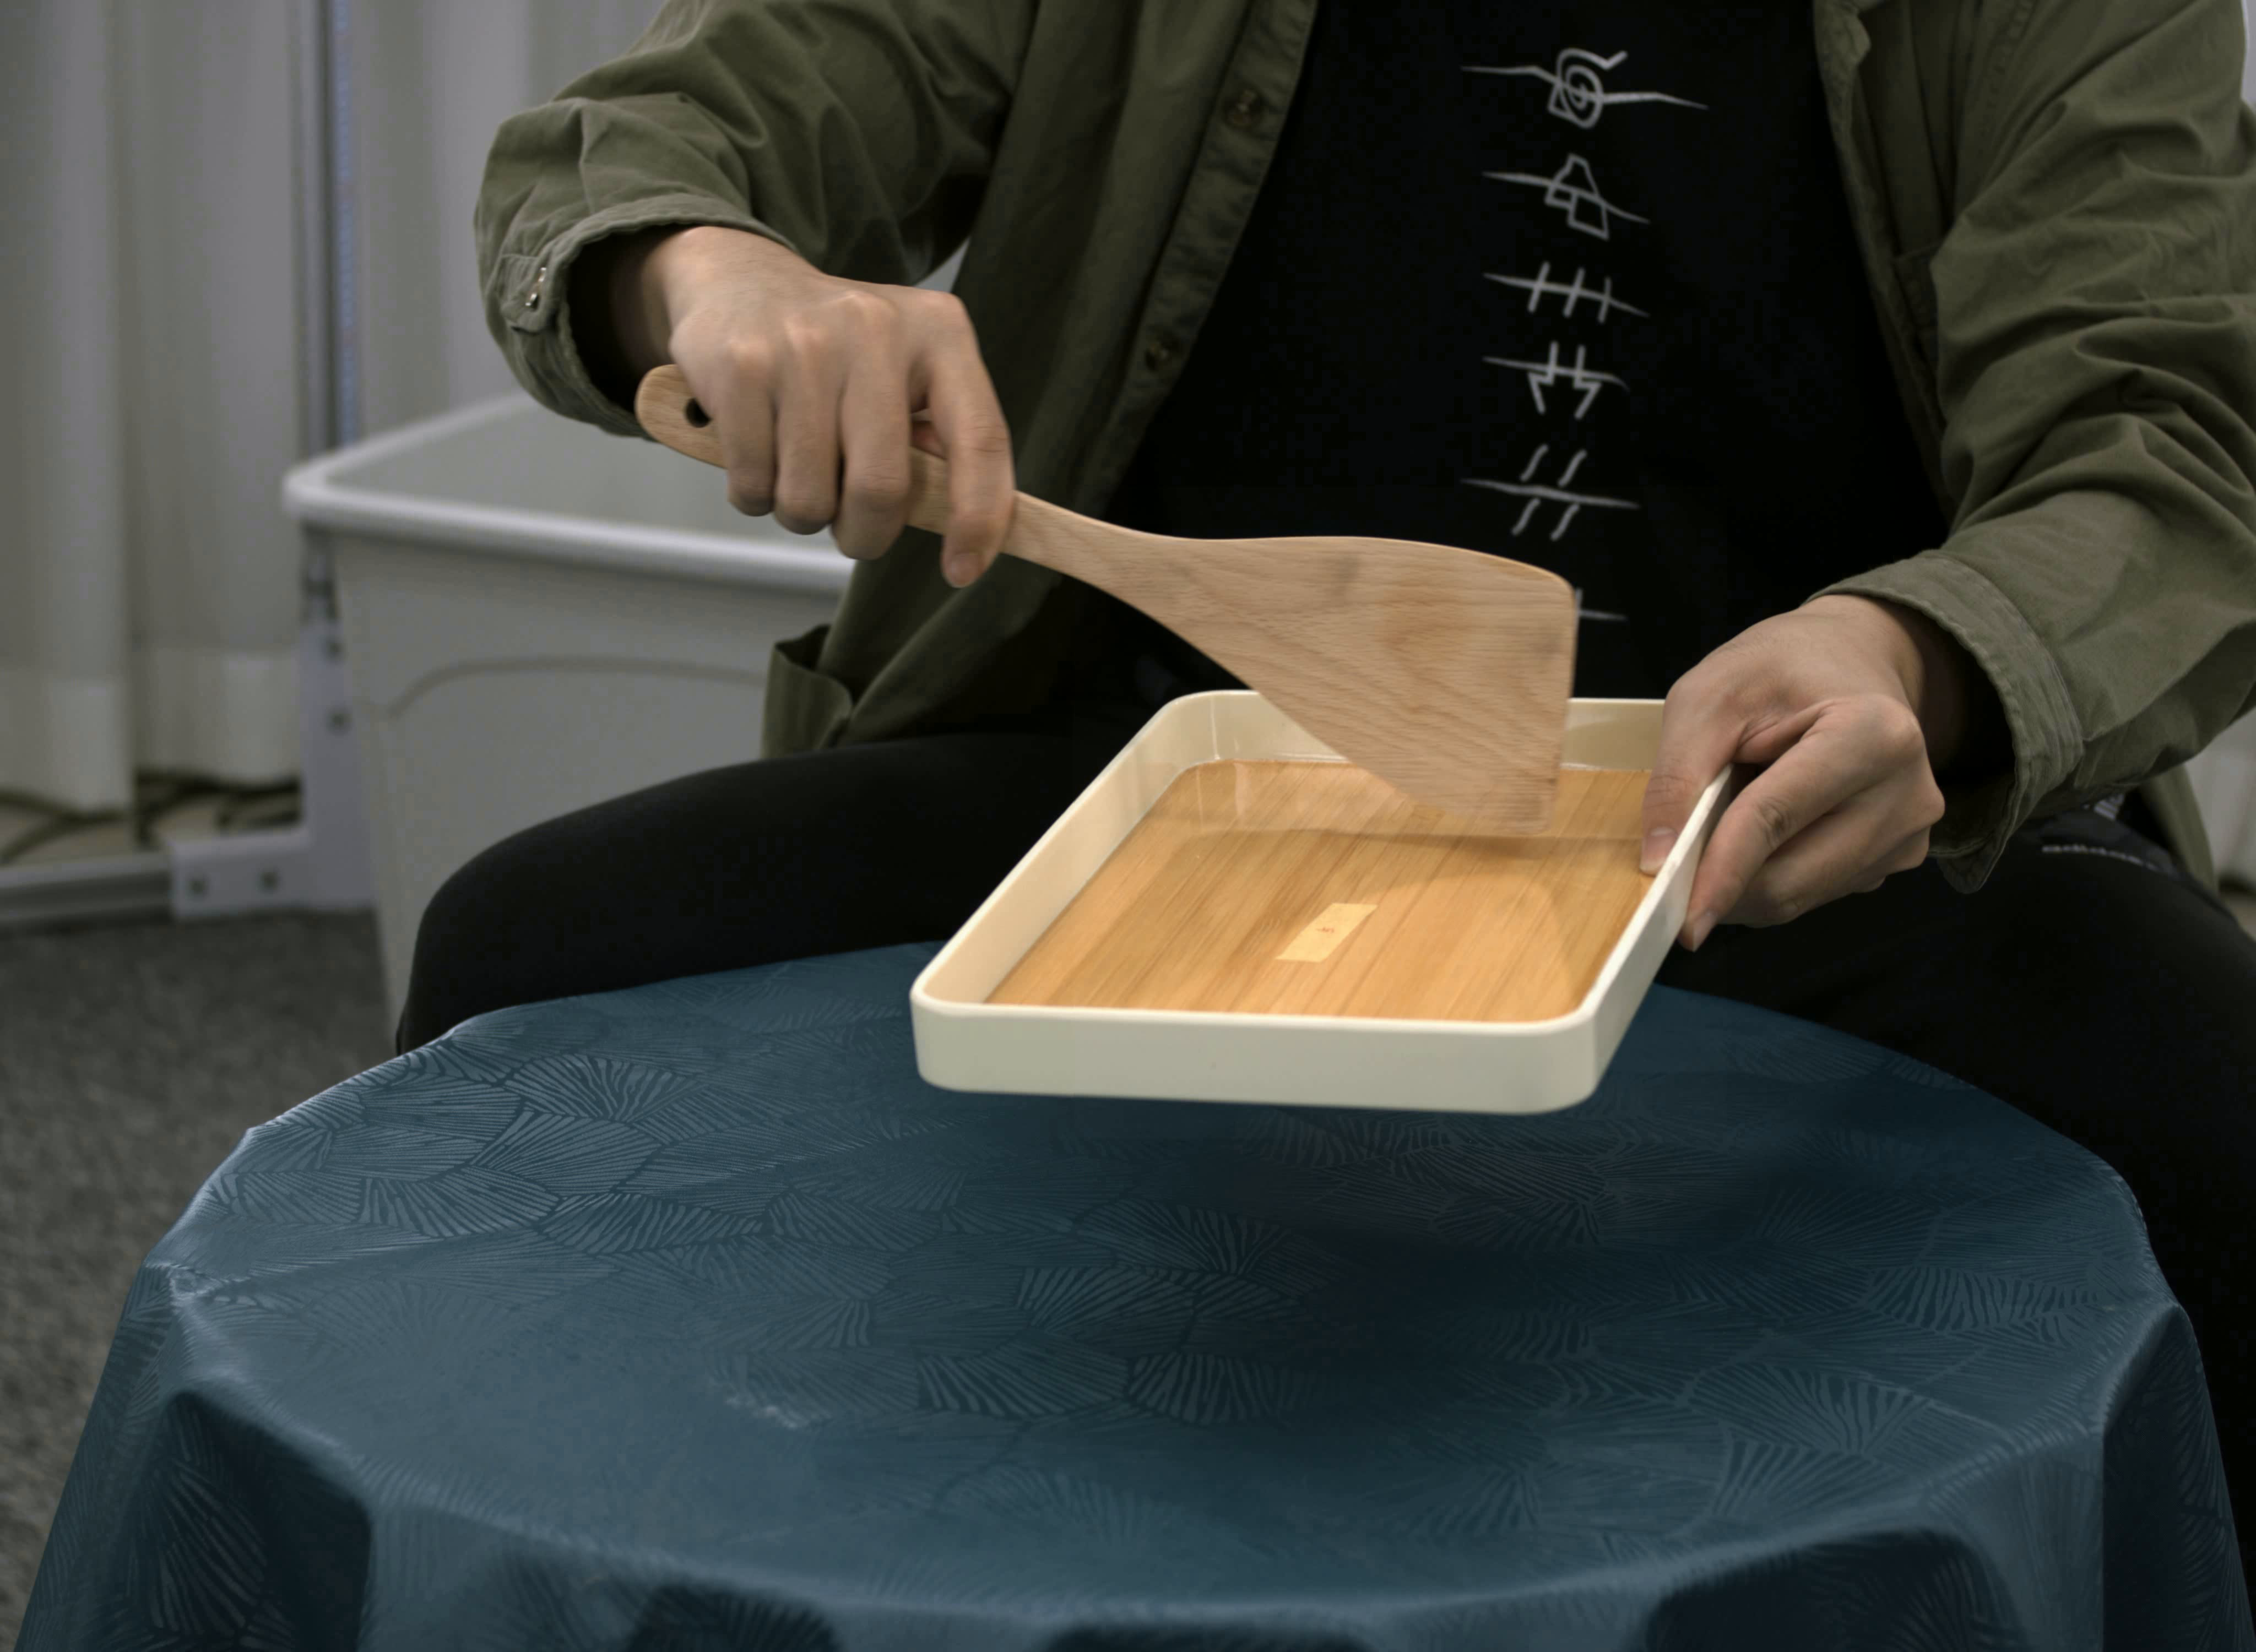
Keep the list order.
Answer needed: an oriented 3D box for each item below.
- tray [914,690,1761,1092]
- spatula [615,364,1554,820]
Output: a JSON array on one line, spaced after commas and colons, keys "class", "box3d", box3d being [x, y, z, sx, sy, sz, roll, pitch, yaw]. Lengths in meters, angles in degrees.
[{"class": "tray", "box3d": [0.069, 0.014, 1.537, 0.190, 0.027, 0.300, 2, 17, 16]}, {"class": "spatula", "box3d": [-0.016, -0.087, 1.612, 0.324, 0.080, 0.016, 19, 13, 17]}]
